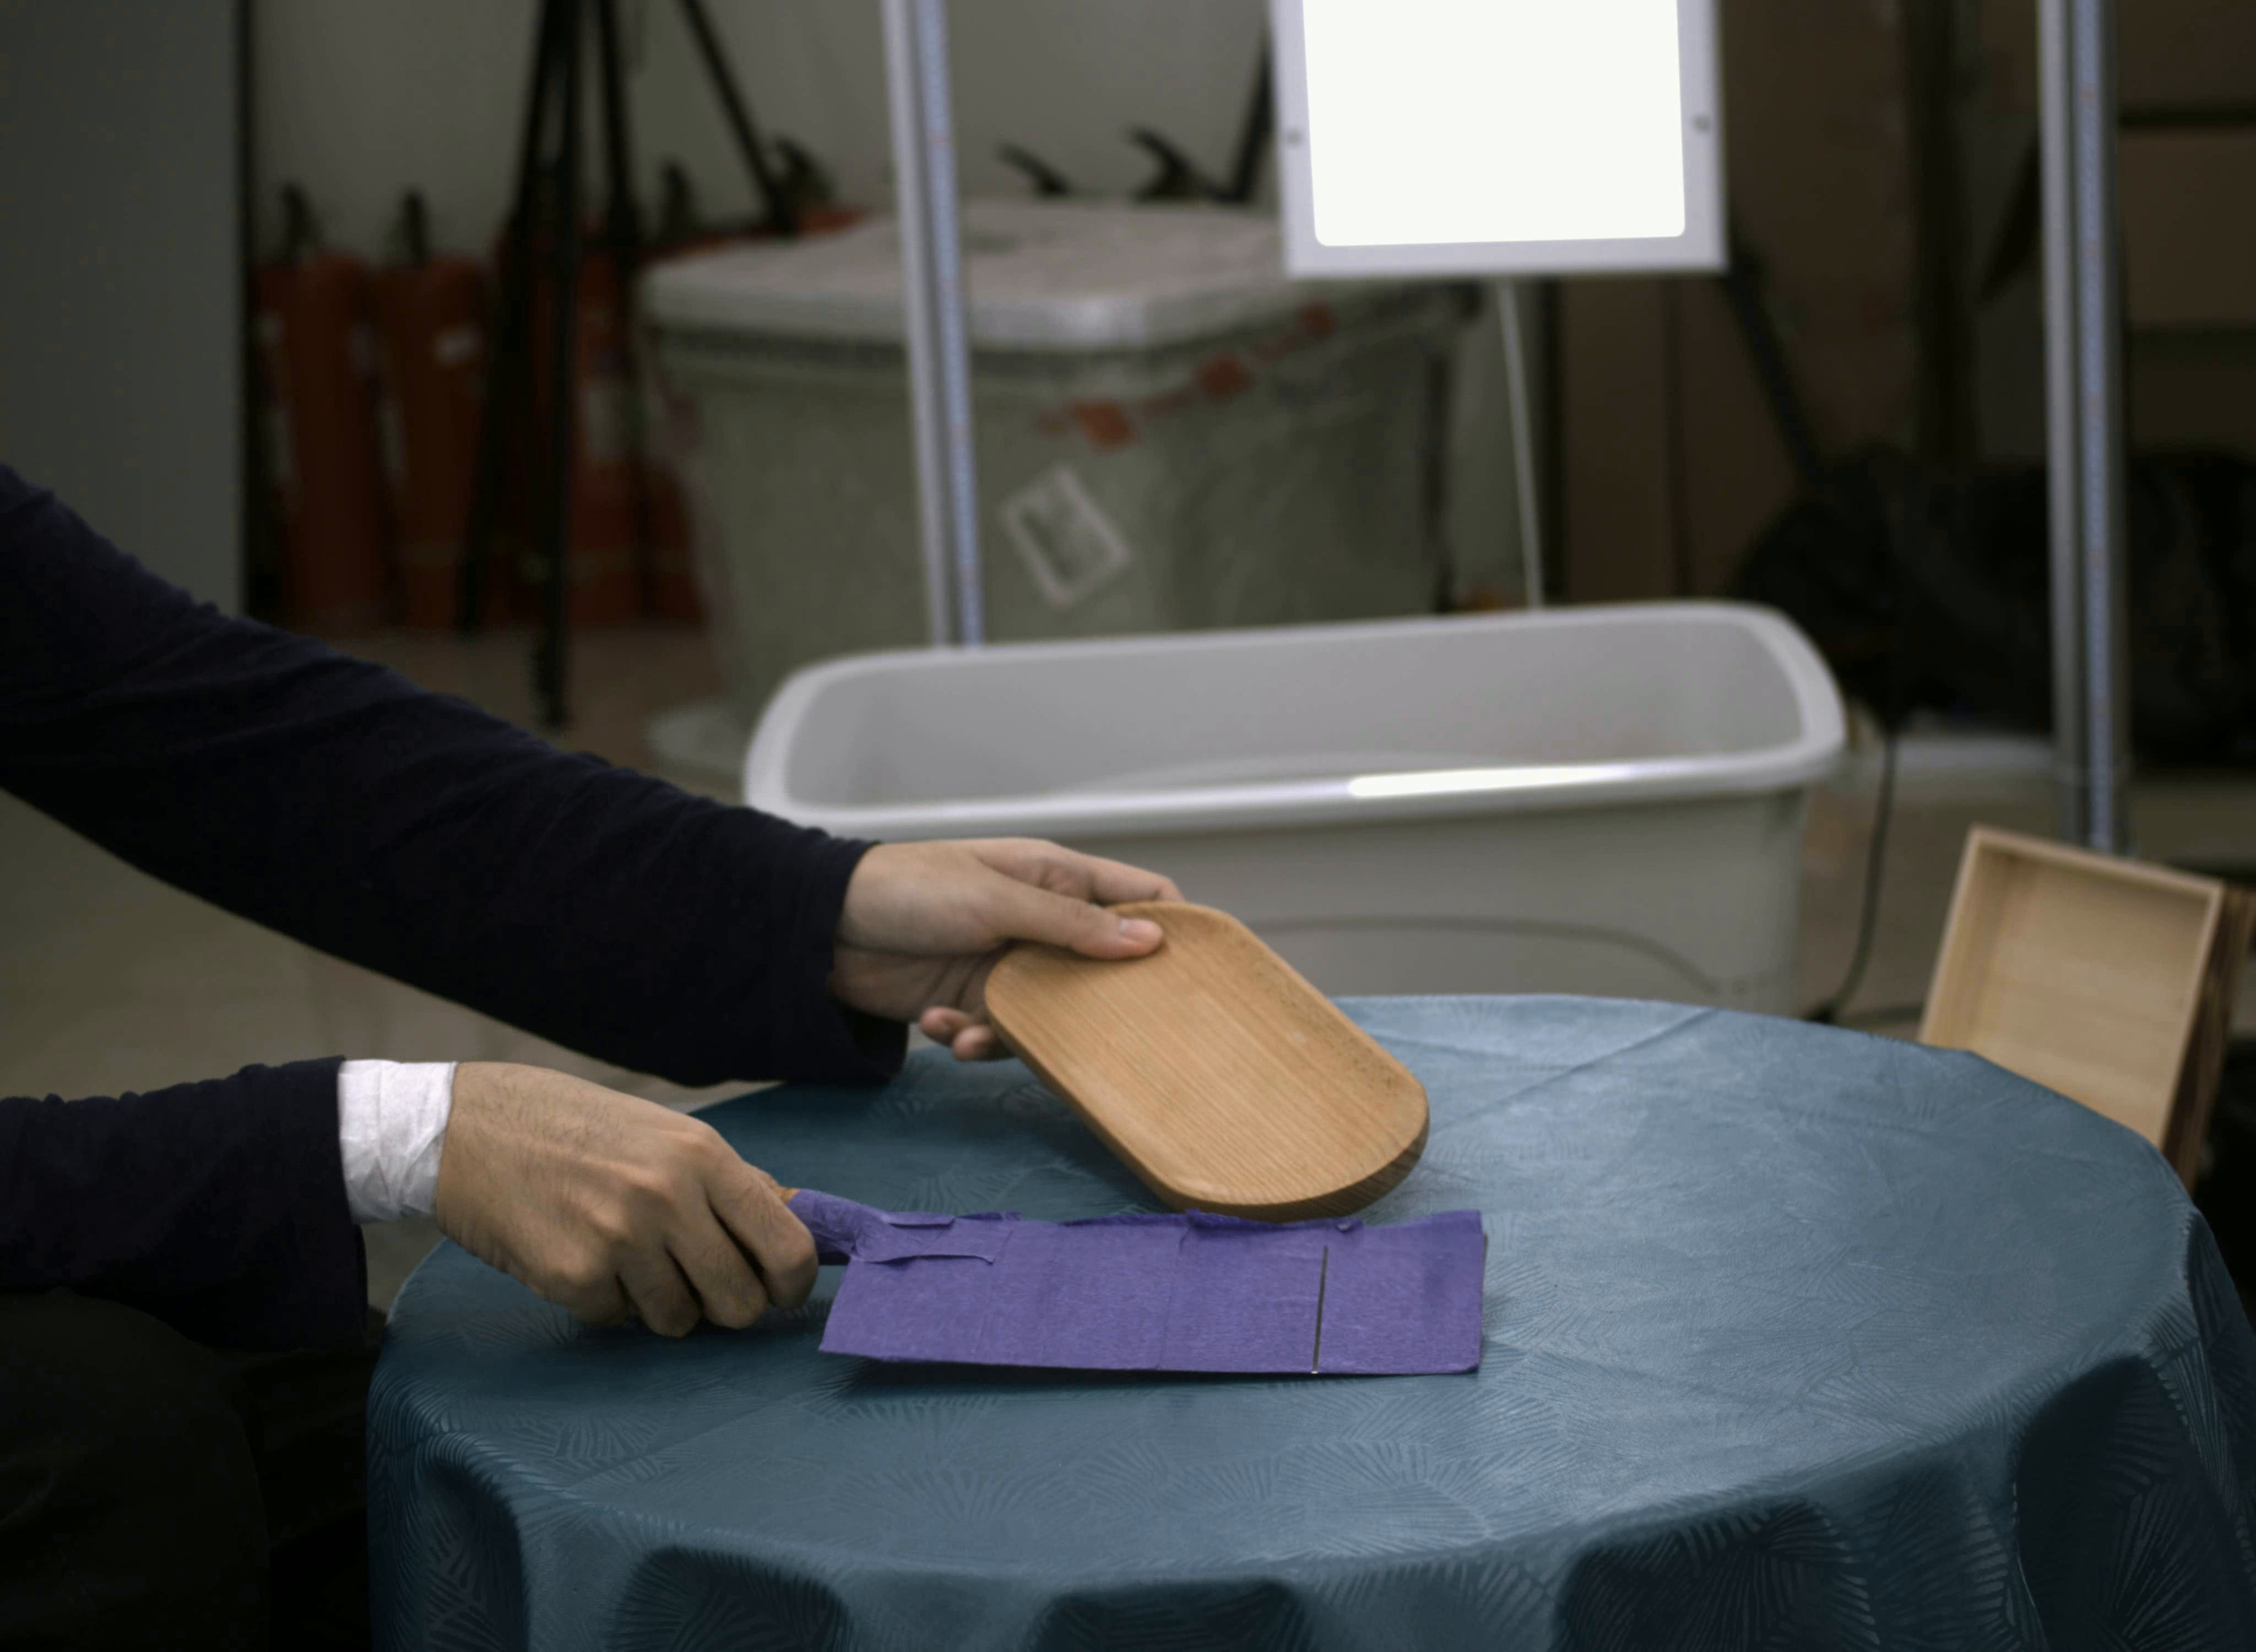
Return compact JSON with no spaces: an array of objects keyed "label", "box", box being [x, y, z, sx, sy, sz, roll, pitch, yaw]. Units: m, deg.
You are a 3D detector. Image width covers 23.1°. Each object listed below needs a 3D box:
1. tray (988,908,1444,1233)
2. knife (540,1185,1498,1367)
[{"label":"tray","box":[0.029,0.085,1.933,0.100,0.020,0.234,-23,31,-17]},{"label":"knife","box":[-0.039,0.143,1.756,0.317,0.032,0.103,-1,23,10]}]
